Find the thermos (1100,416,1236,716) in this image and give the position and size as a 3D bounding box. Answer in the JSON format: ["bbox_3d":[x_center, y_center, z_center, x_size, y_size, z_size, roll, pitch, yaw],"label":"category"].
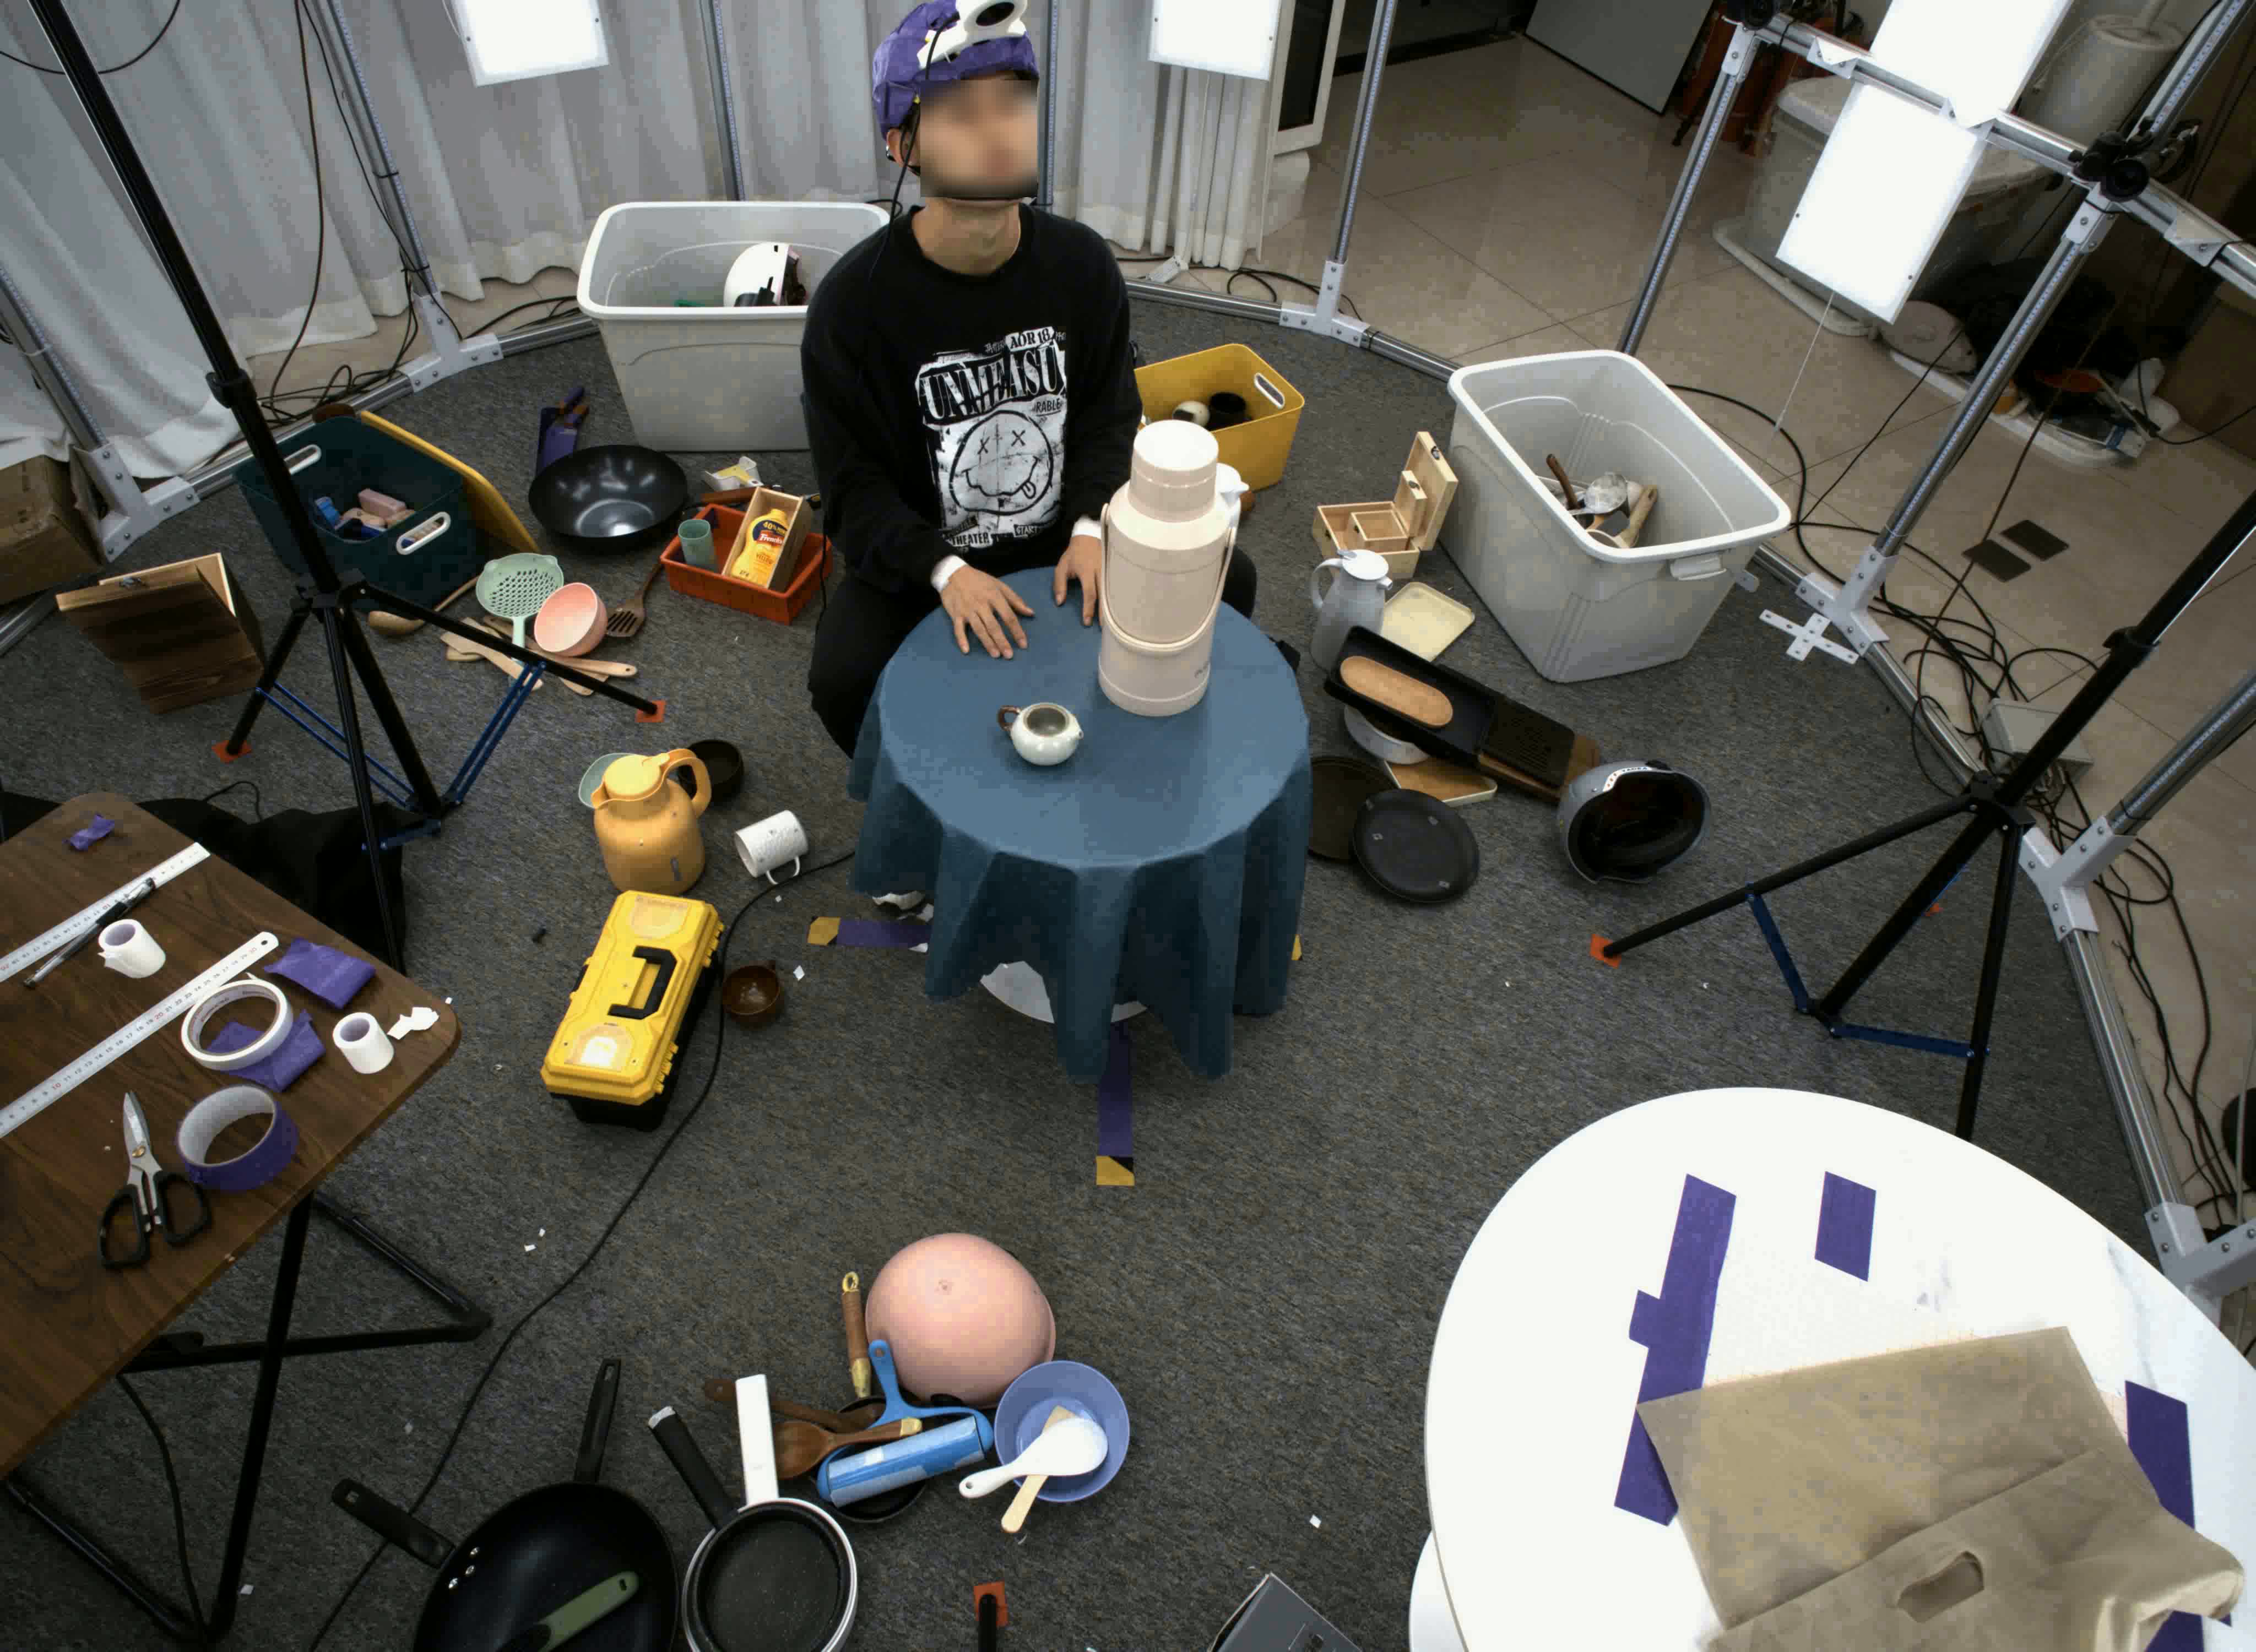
[{"bbox_3d":[0.052,-0.351,1.721,0.175,0.396,0.212,10,50,6],"label":"thermos"}]

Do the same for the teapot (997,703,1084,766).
[{"bbox_3d":[-0.120,-0.128,1.735,0.128,0.058,0.093,21,54,12],"label":"teapot"}]
